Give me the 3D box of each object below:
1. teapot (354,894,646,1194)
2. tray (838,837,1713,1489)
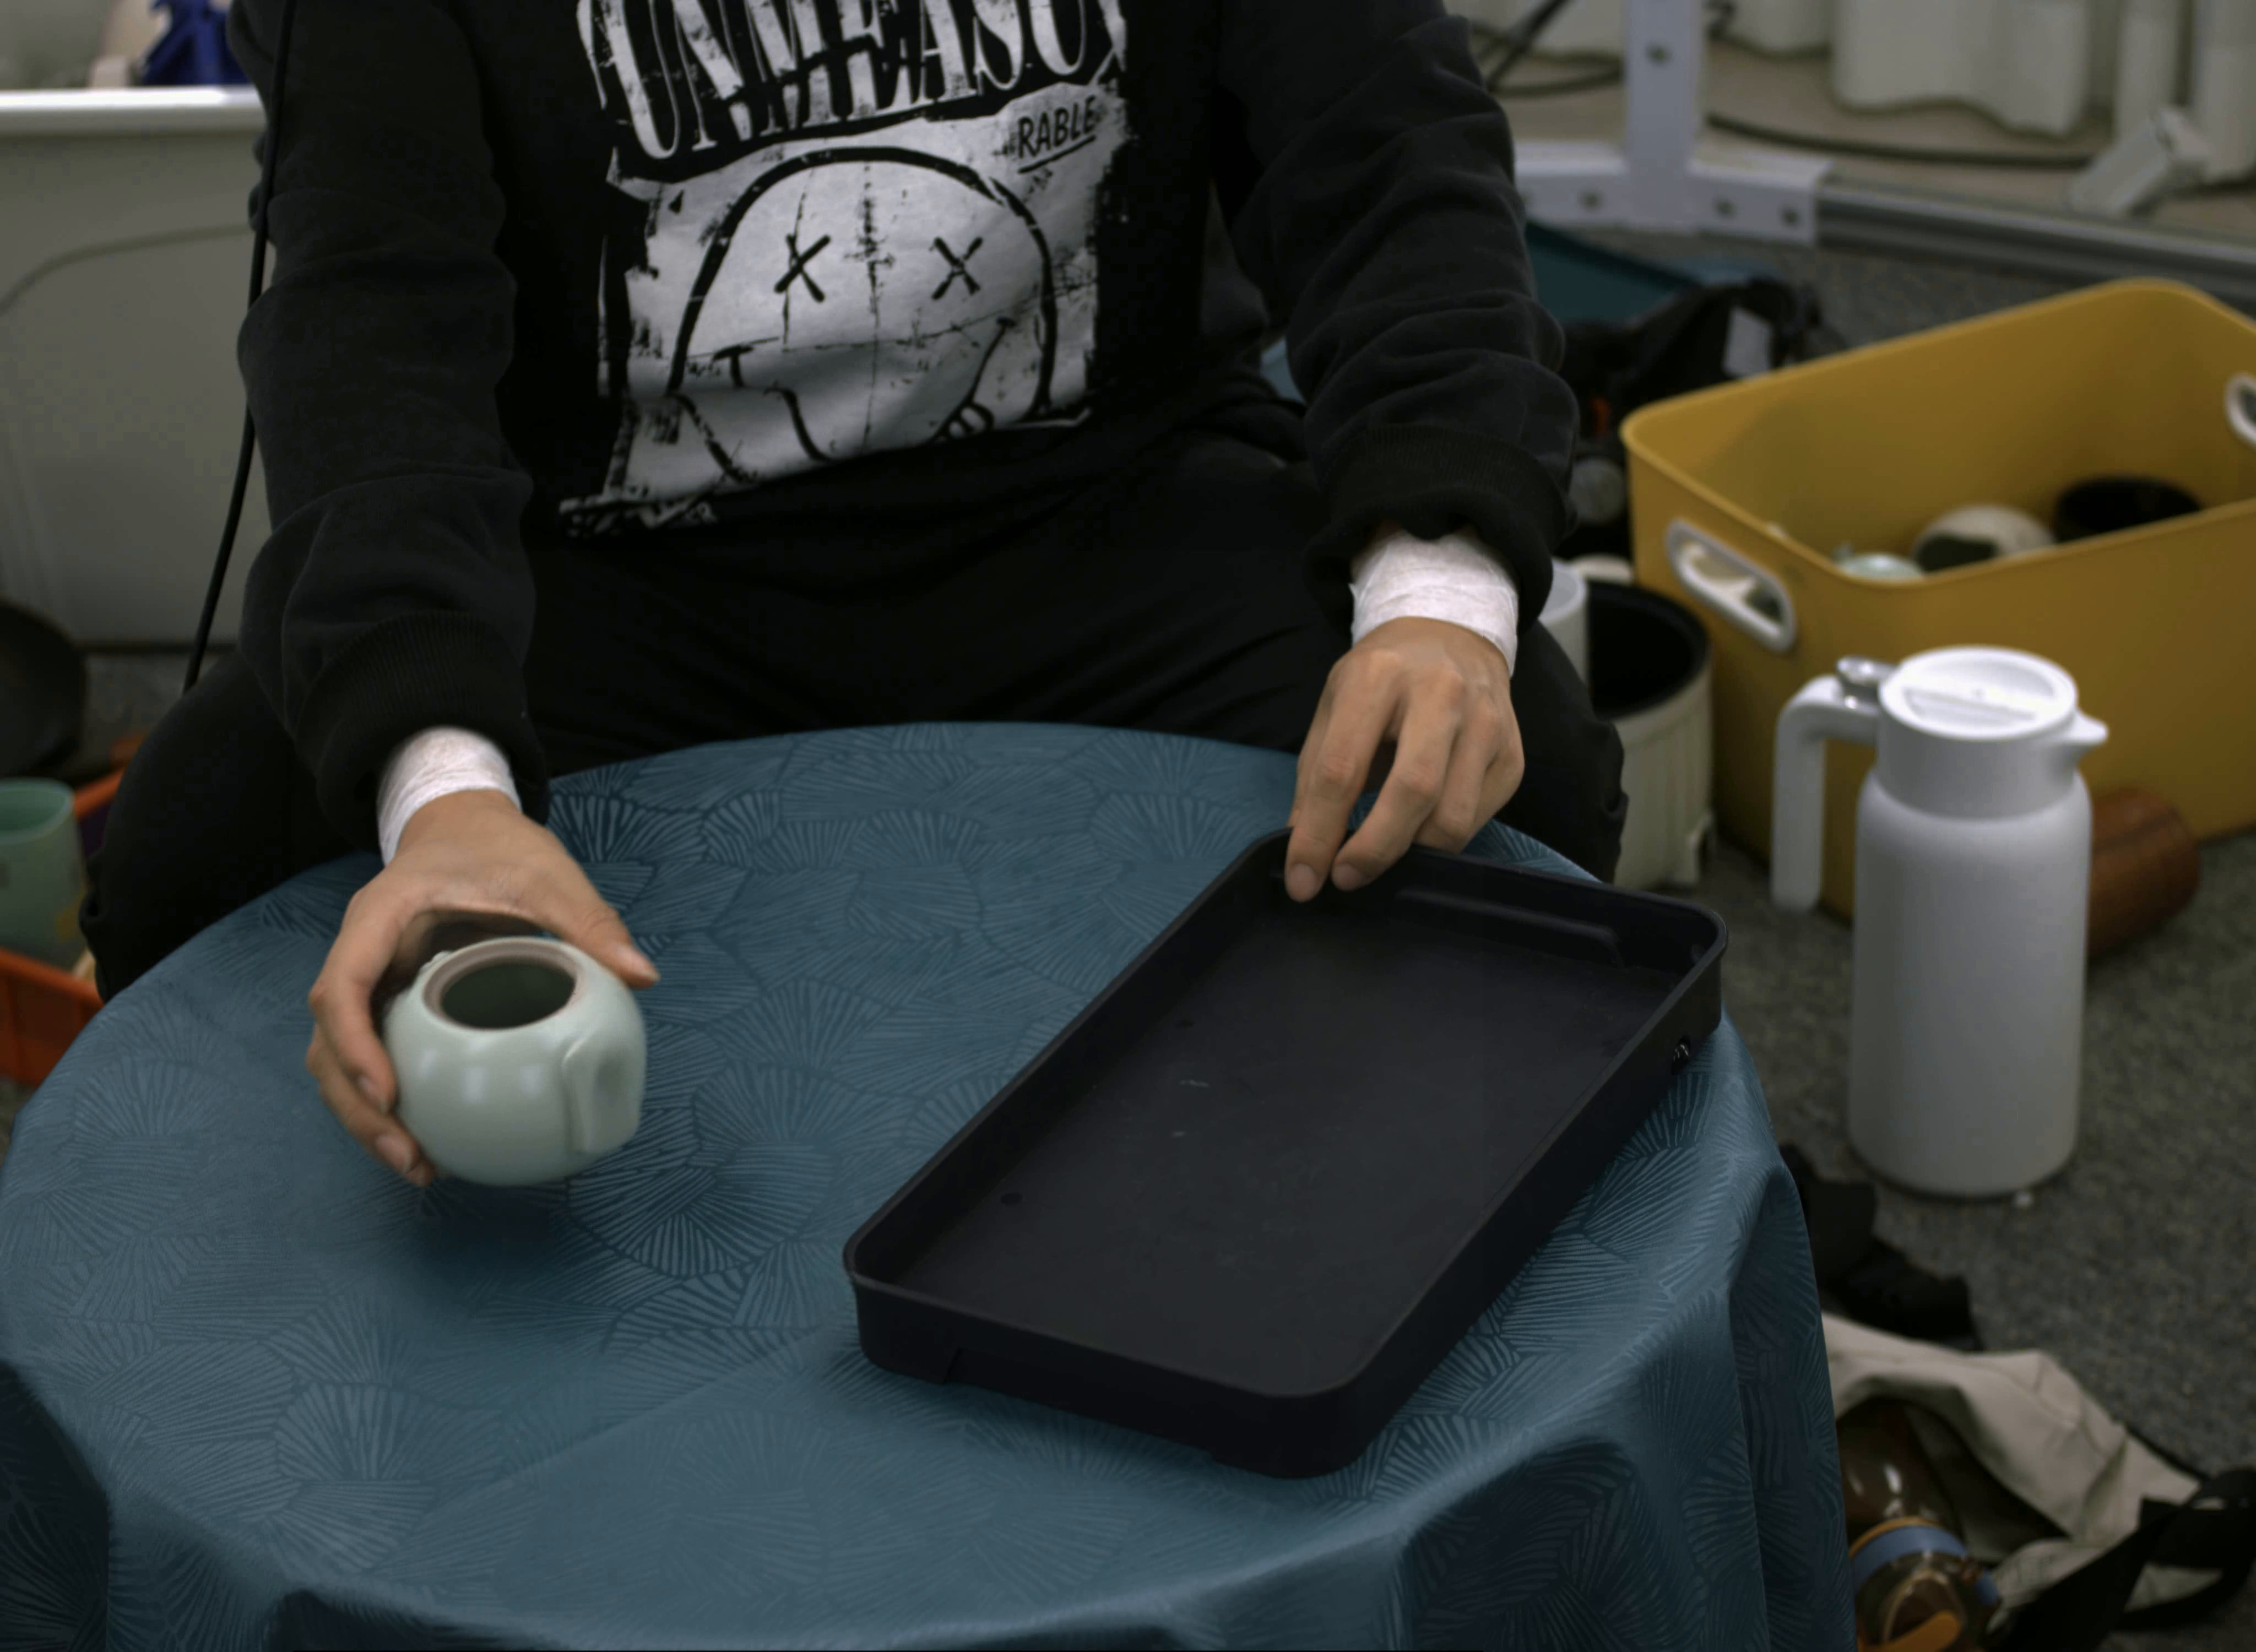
[{"bbox_3d":[-0.203,0.079,1.838,0.089,0.074,0.144,-27,41,-34],"label":"teapot"},{"bbox_3d":[0.055,0.103,1.845,0.183,0.036,0.323,11,32,25],"label":"tray"}]
